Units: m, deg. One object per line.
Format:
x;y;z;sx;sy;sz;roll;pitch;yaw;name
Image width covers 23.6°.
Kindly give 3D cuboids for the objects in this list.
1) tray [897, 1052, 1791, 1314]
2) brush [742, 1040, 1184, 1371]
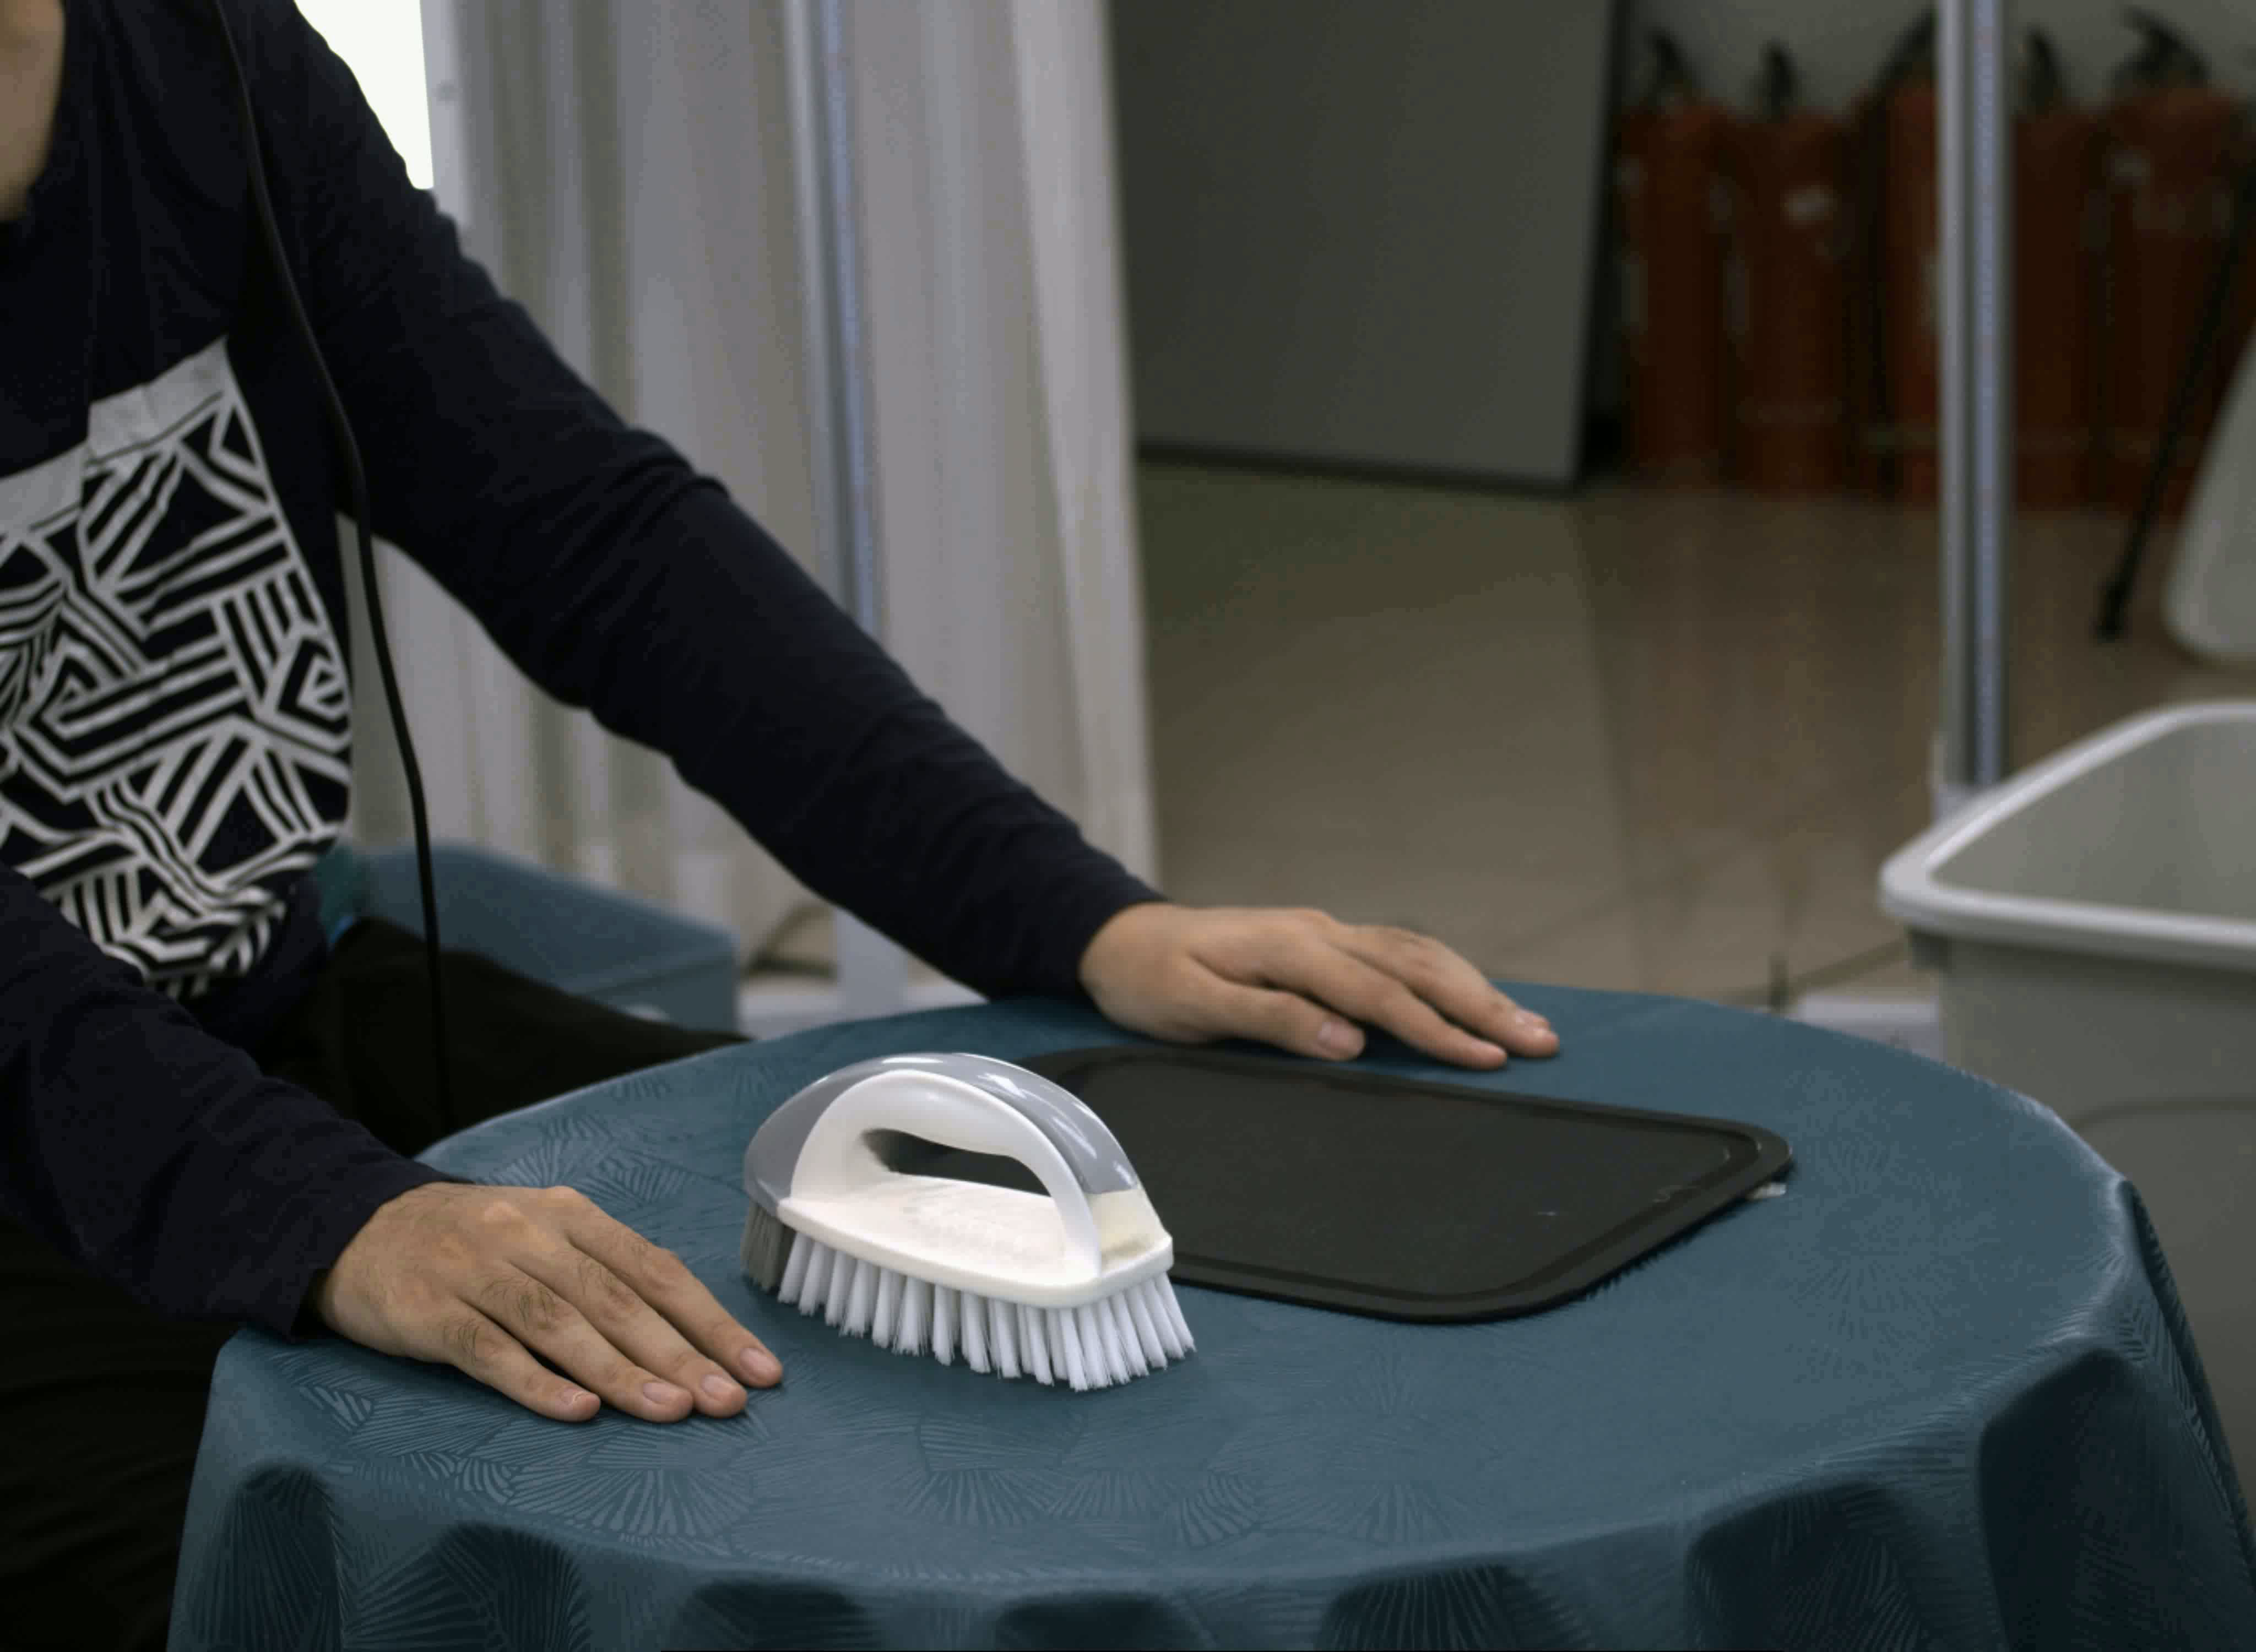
0.044;0.113;1.780;0.328;0.010;0.207;6;17;38;tray
-0.061;0.111;1.644;0.060;0.095;0.177;-15;15;-43;brush
